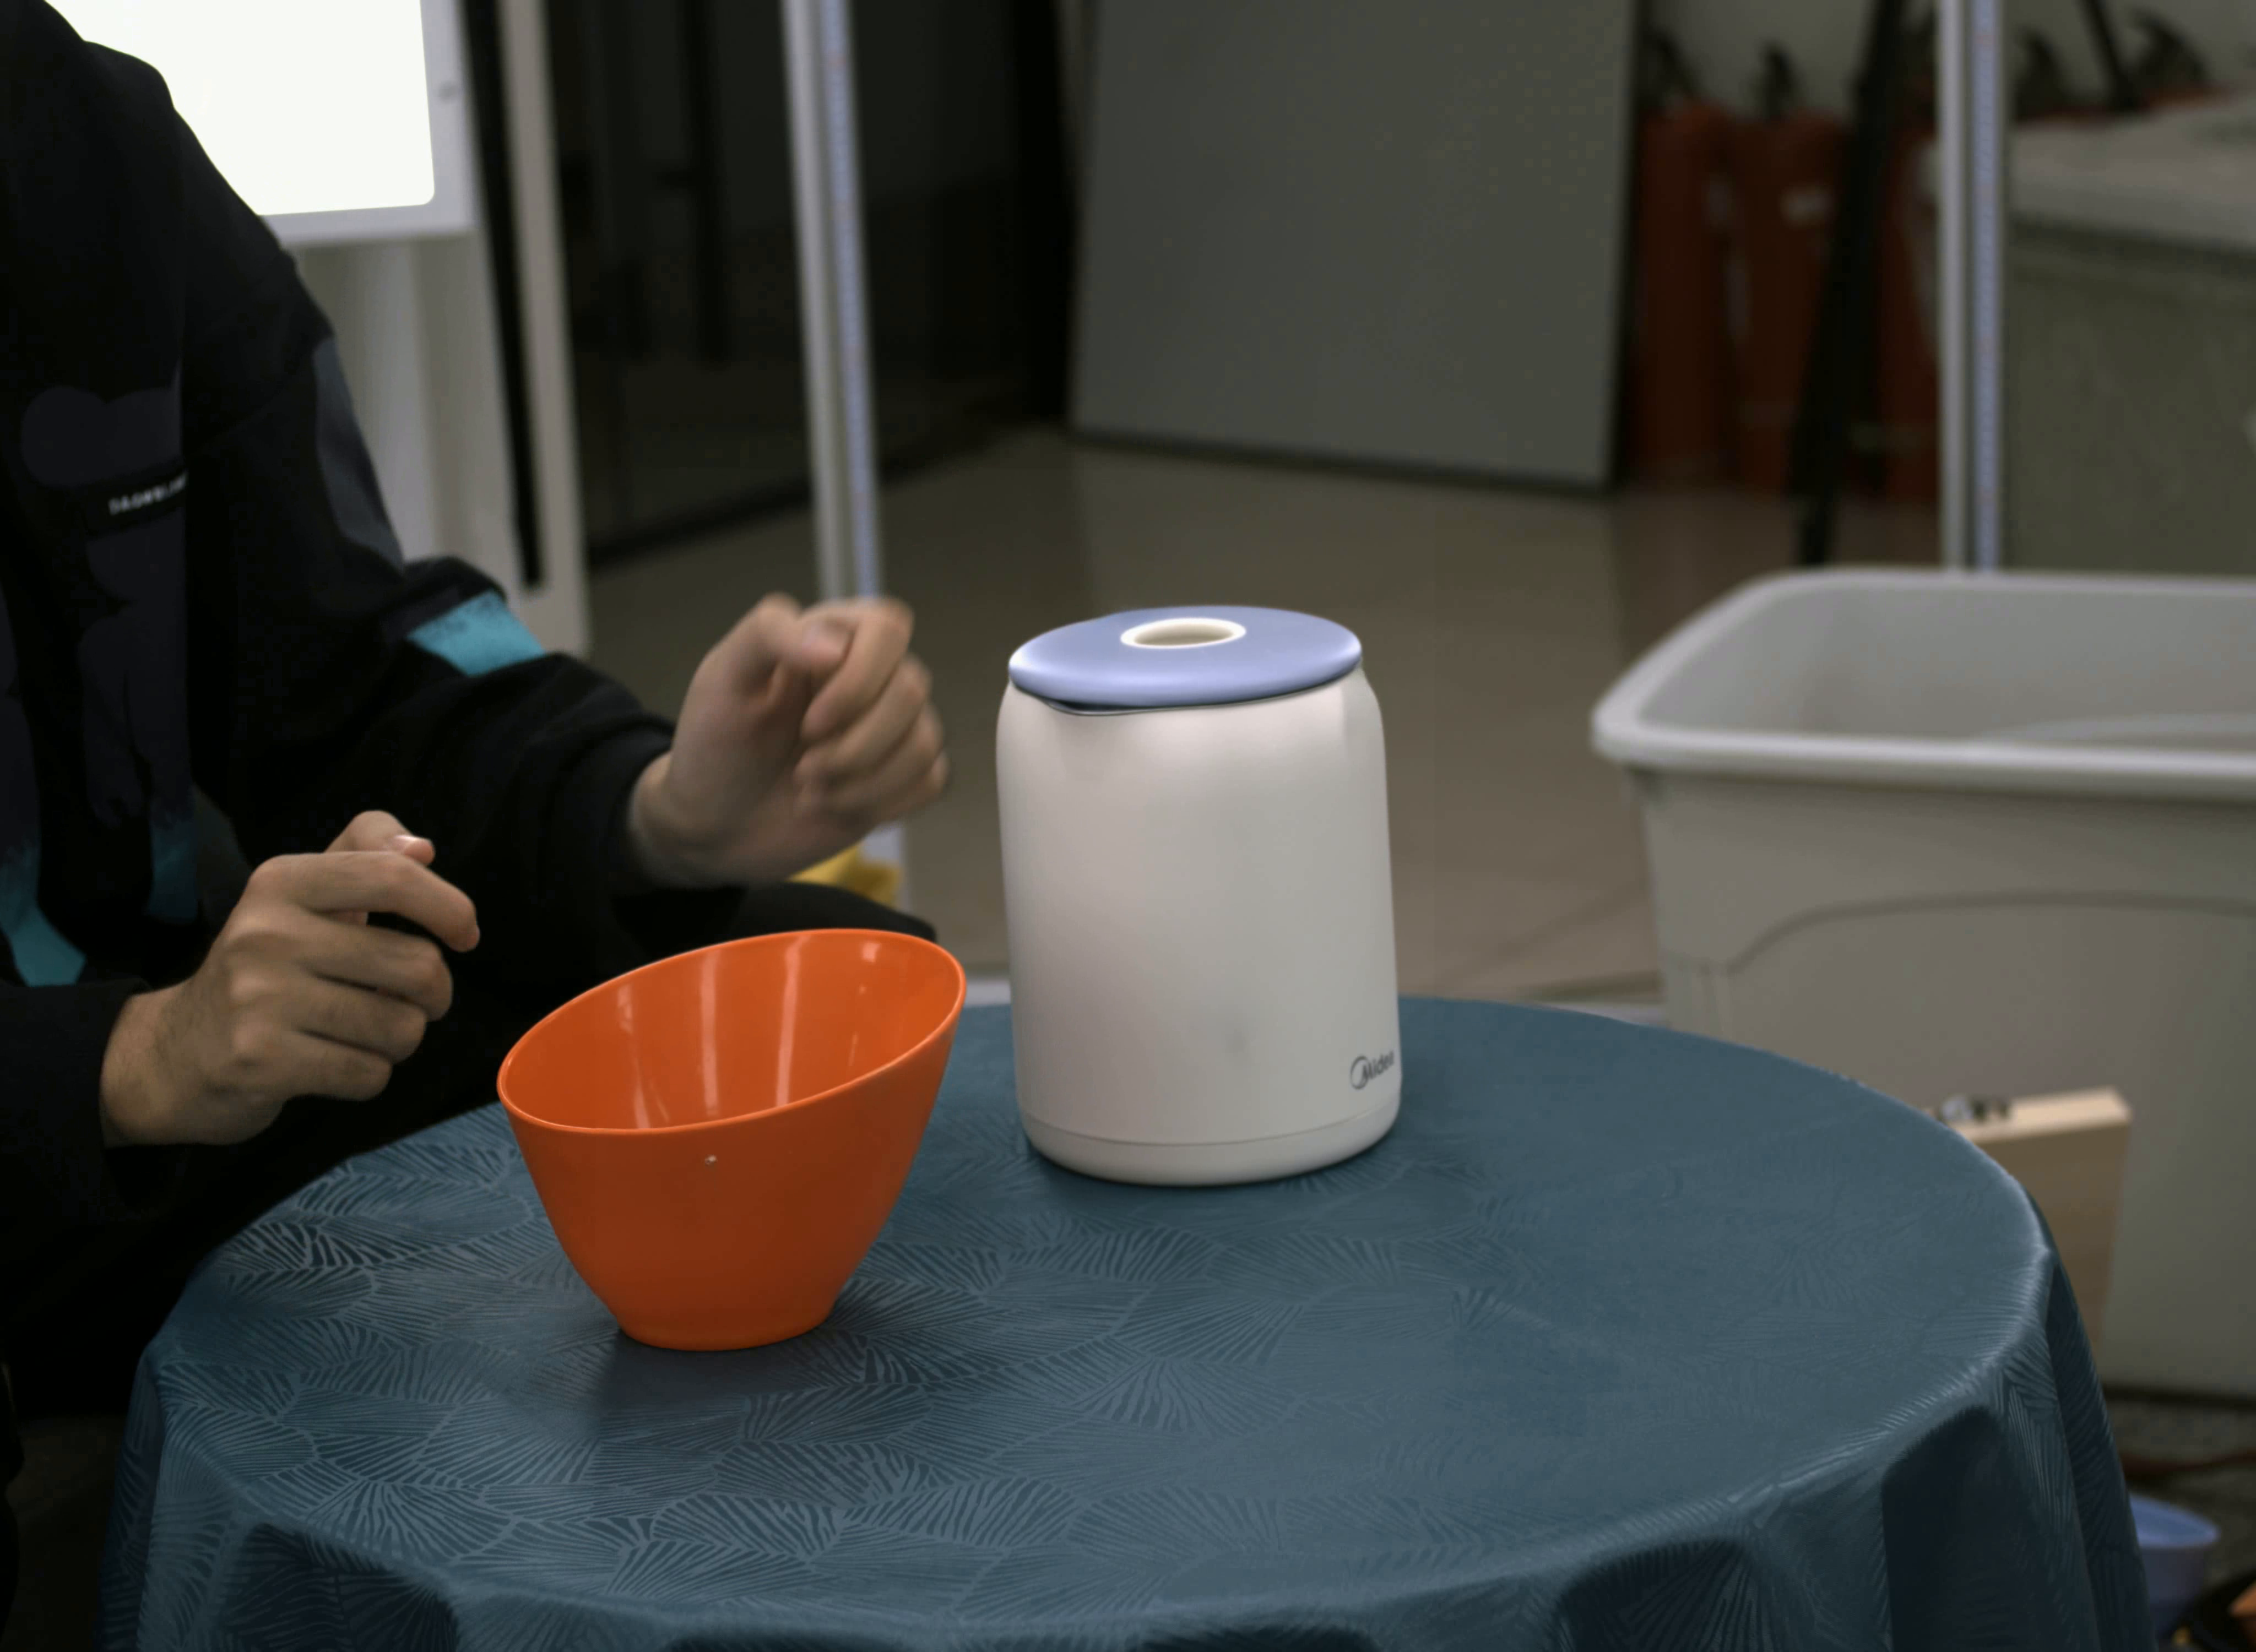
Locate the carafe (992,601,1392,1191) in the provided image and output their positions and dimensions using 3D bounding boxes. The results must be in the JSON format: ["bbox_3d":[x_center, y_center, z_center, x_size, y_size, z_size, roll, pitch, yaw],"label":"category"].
[{"bbox_3d":[0.034,0.017,1.825,0.133,0.184,0.188,6,14,30],"label":"carafe"}]

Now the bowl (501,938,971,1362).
[{"bbox_3d":[-0.117,0.103,1.669,0.146,0.106,0.148,-4,13,0],"label":"bowl"}]
